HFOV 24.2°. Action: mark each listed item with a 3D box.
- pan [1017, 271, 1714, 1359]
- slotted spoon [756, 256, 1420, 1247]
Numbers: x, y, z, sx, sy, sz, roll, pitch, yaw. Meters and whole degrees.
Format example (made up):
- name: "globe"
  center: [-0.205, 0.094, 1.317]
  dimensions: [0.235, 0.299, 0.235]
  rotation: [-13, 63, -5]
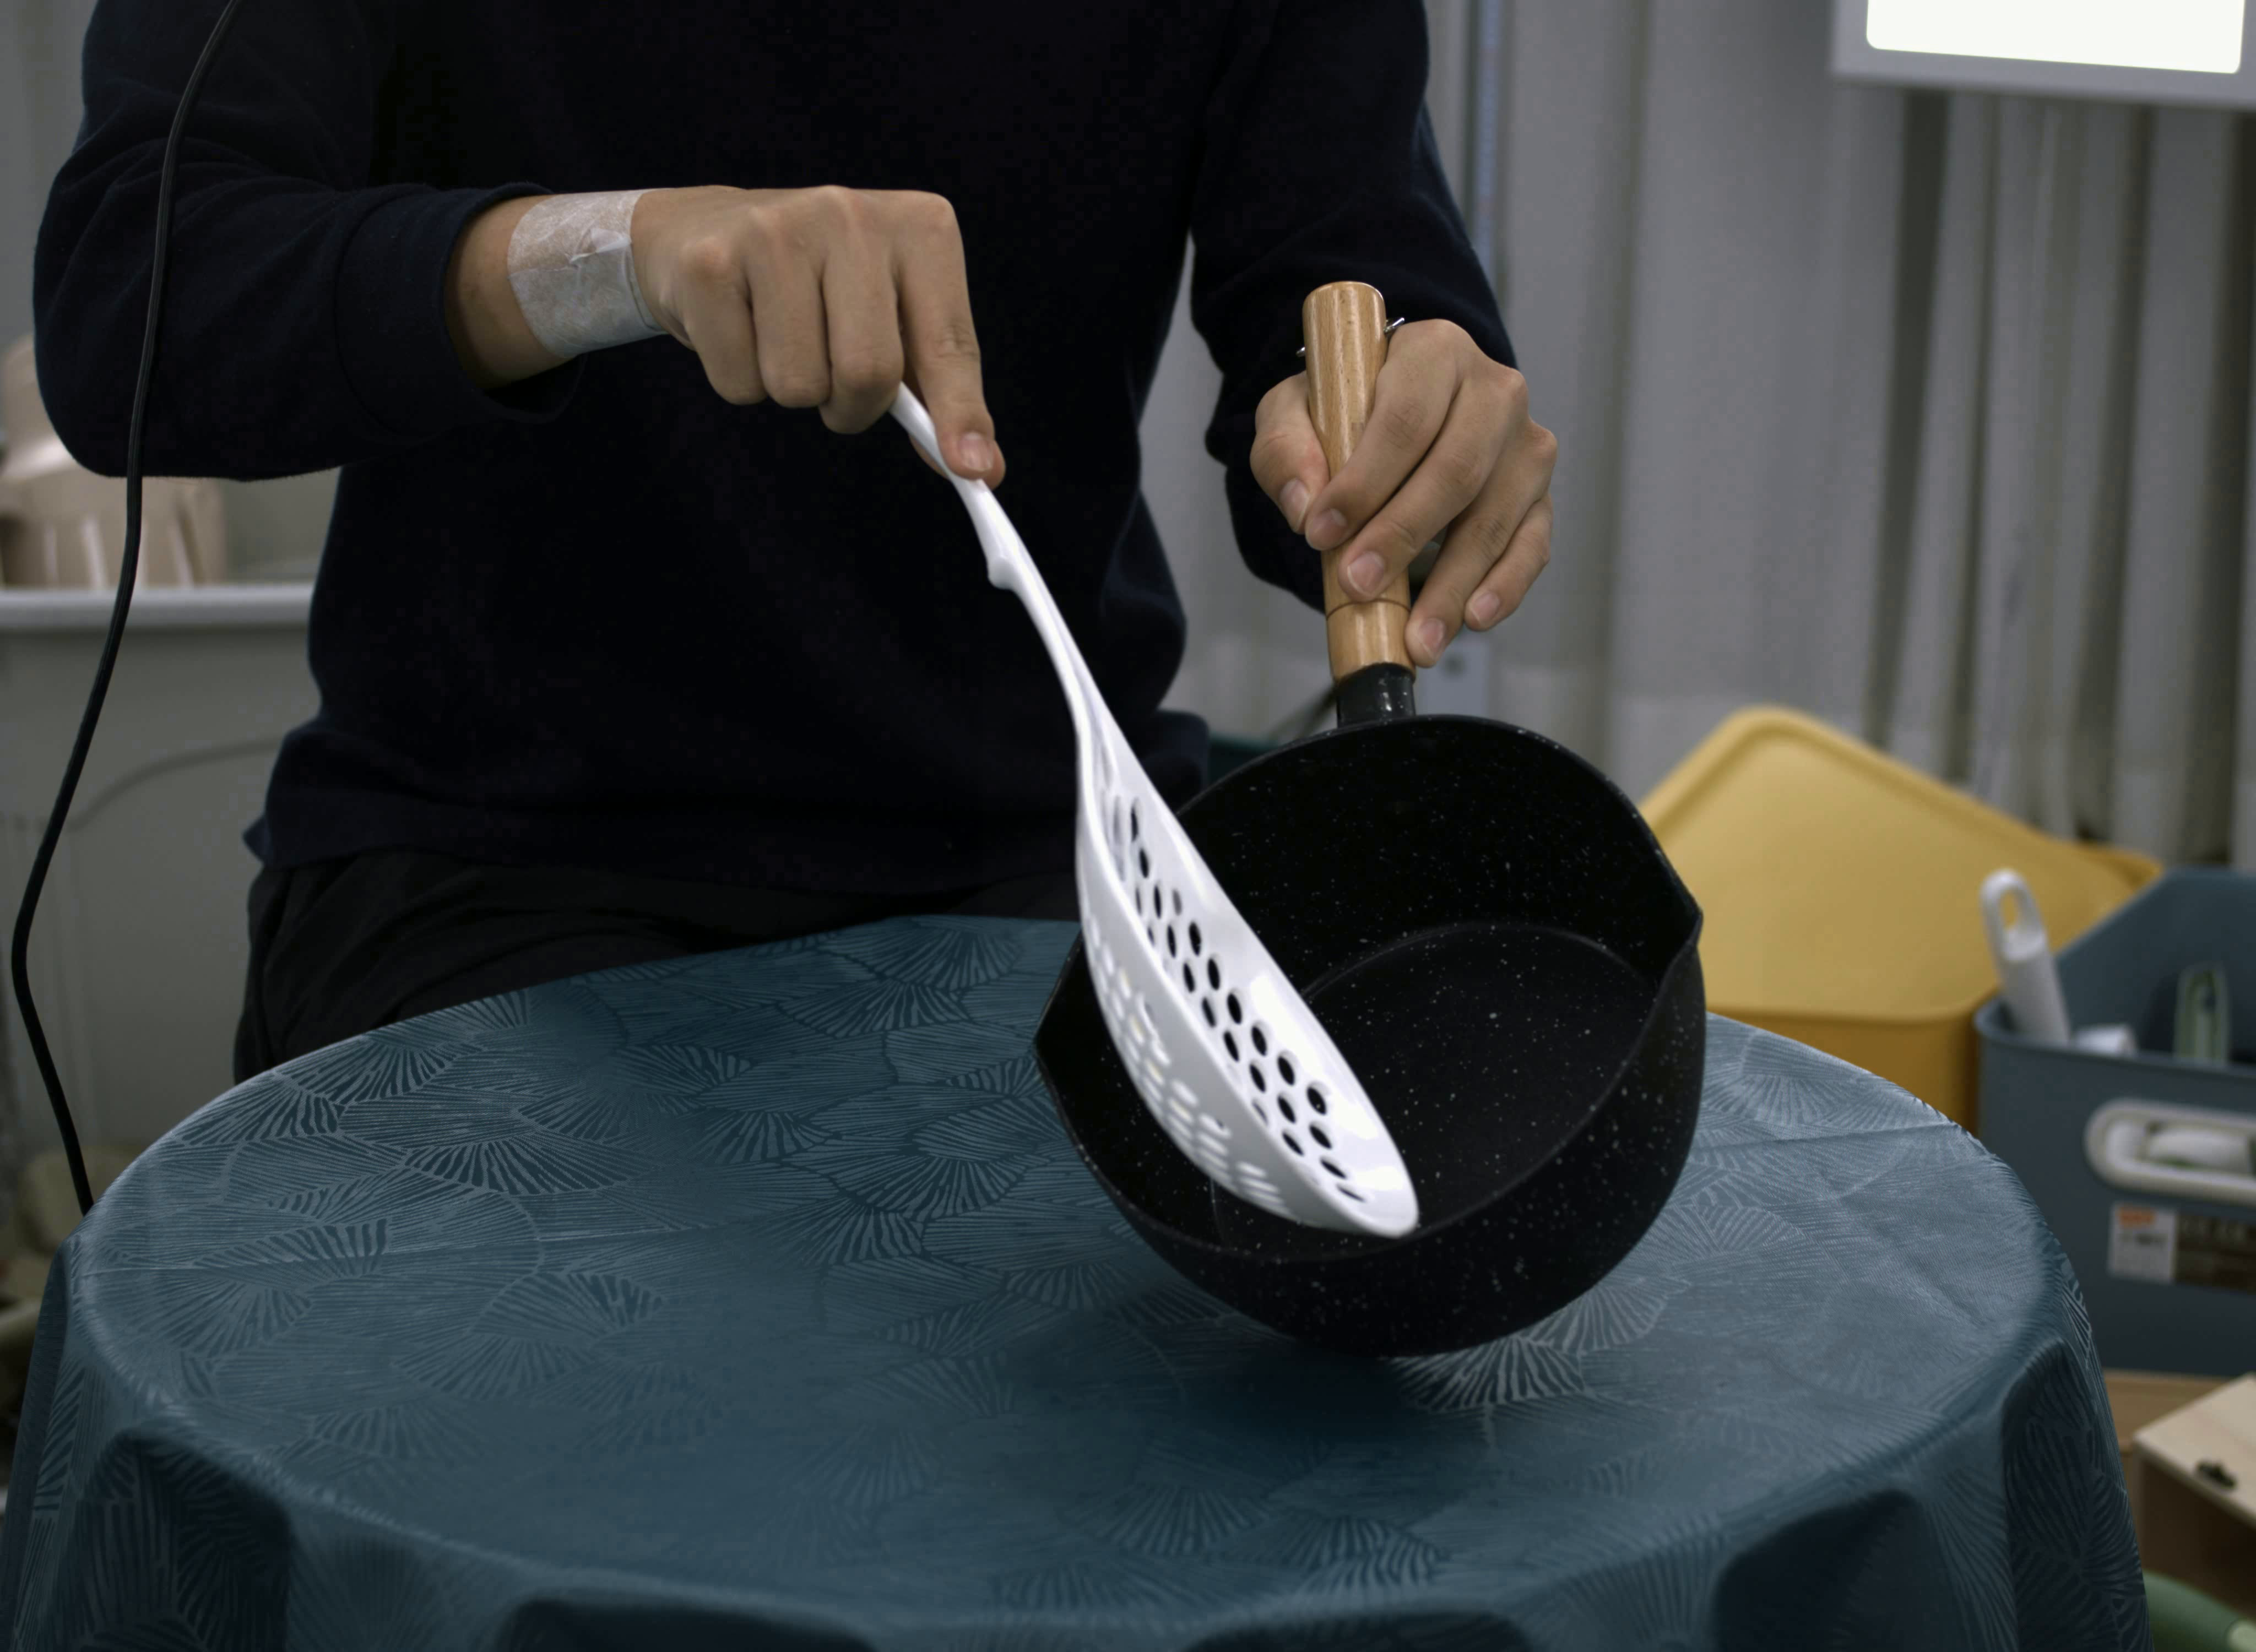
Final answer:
- name: "pan"
  center: [0.075, -0.004, 1.536]
  dimensions: [0.206, 0.110, 0.340]
  rotation: [-13, 52, 17]
- name: "slotted spoon"
  center: [-0.019, -0.027, 1.459]
  dimensions: [0.050, 0.345, 0.138]
  rotation: [-30, -23, 15]
